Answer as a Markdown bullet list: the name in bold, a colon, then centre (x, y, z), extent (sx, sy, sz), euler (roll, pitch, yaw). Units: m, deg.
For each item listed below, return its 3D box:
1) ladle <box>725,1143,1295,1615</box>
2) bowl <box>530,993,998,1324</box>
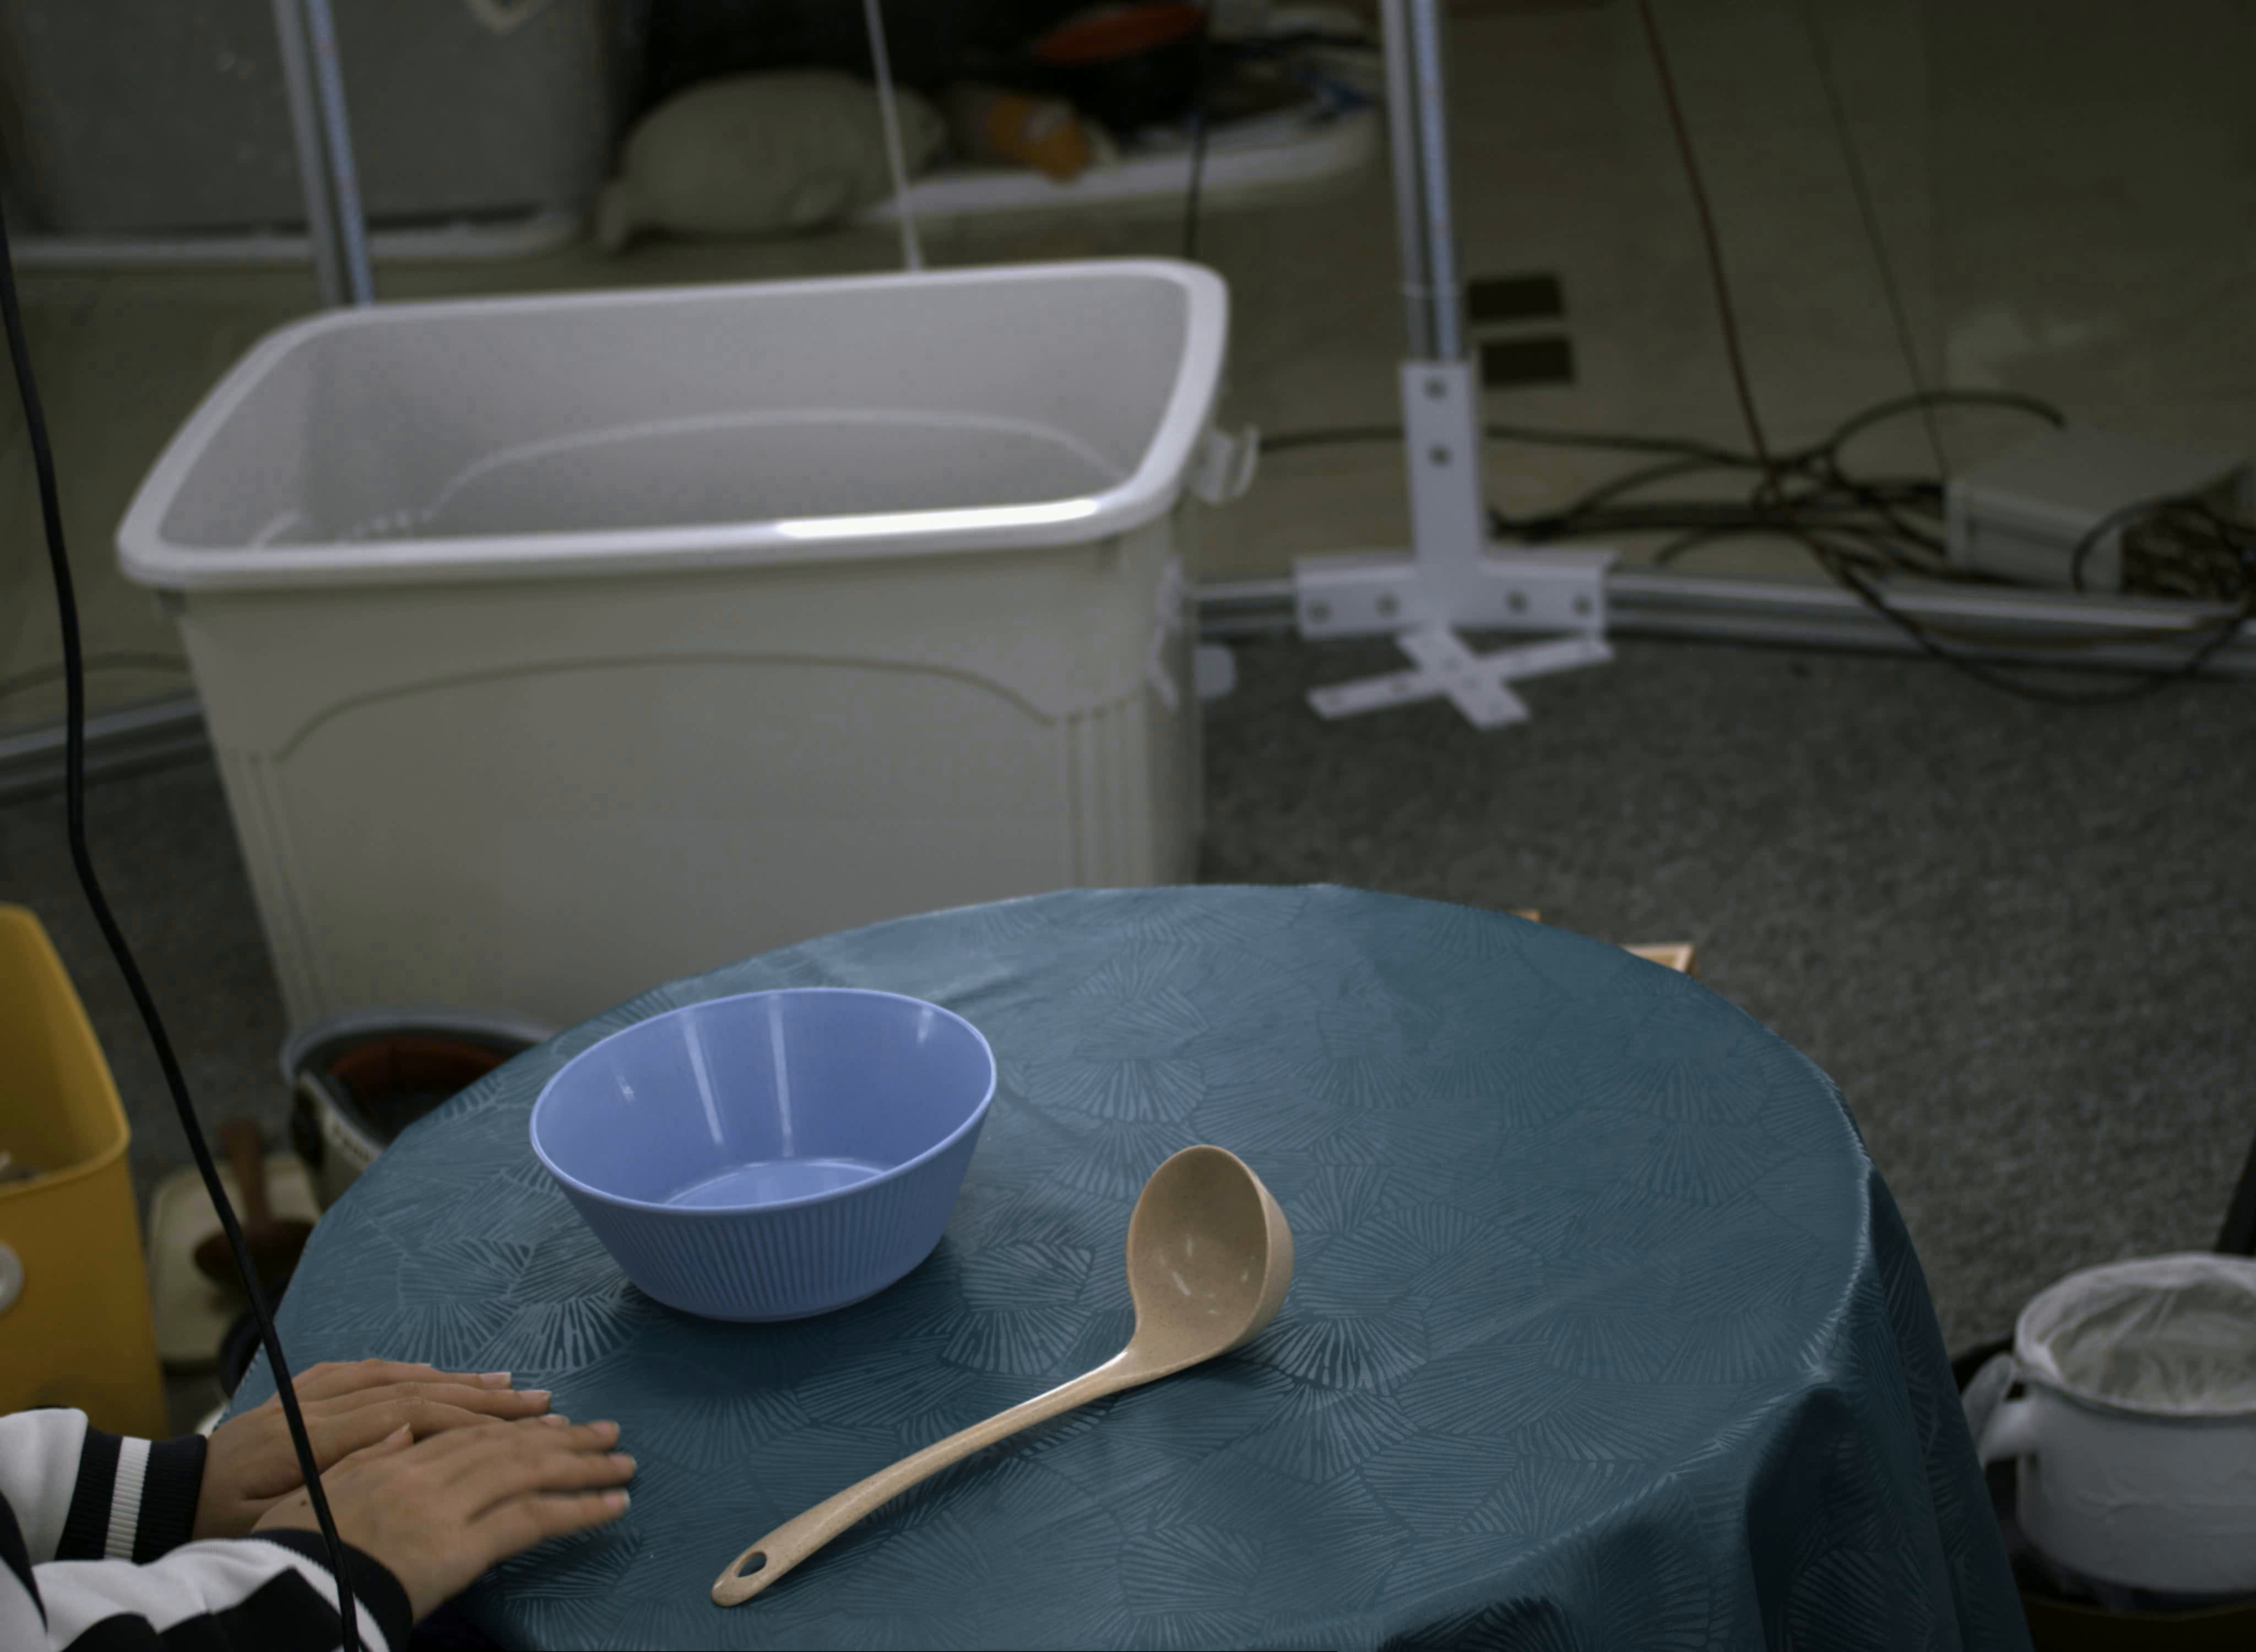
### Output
- **ladle**: centre (-0.045, 0.187, 1.969), extent (0.252, 0.074, 0.071), euler (-26, 35, -36)
- **bowl**: centre (-0.132, 0.130, 2.117), extent (0.176, 0.071, 0.173), euler (-6, 24, 3)
